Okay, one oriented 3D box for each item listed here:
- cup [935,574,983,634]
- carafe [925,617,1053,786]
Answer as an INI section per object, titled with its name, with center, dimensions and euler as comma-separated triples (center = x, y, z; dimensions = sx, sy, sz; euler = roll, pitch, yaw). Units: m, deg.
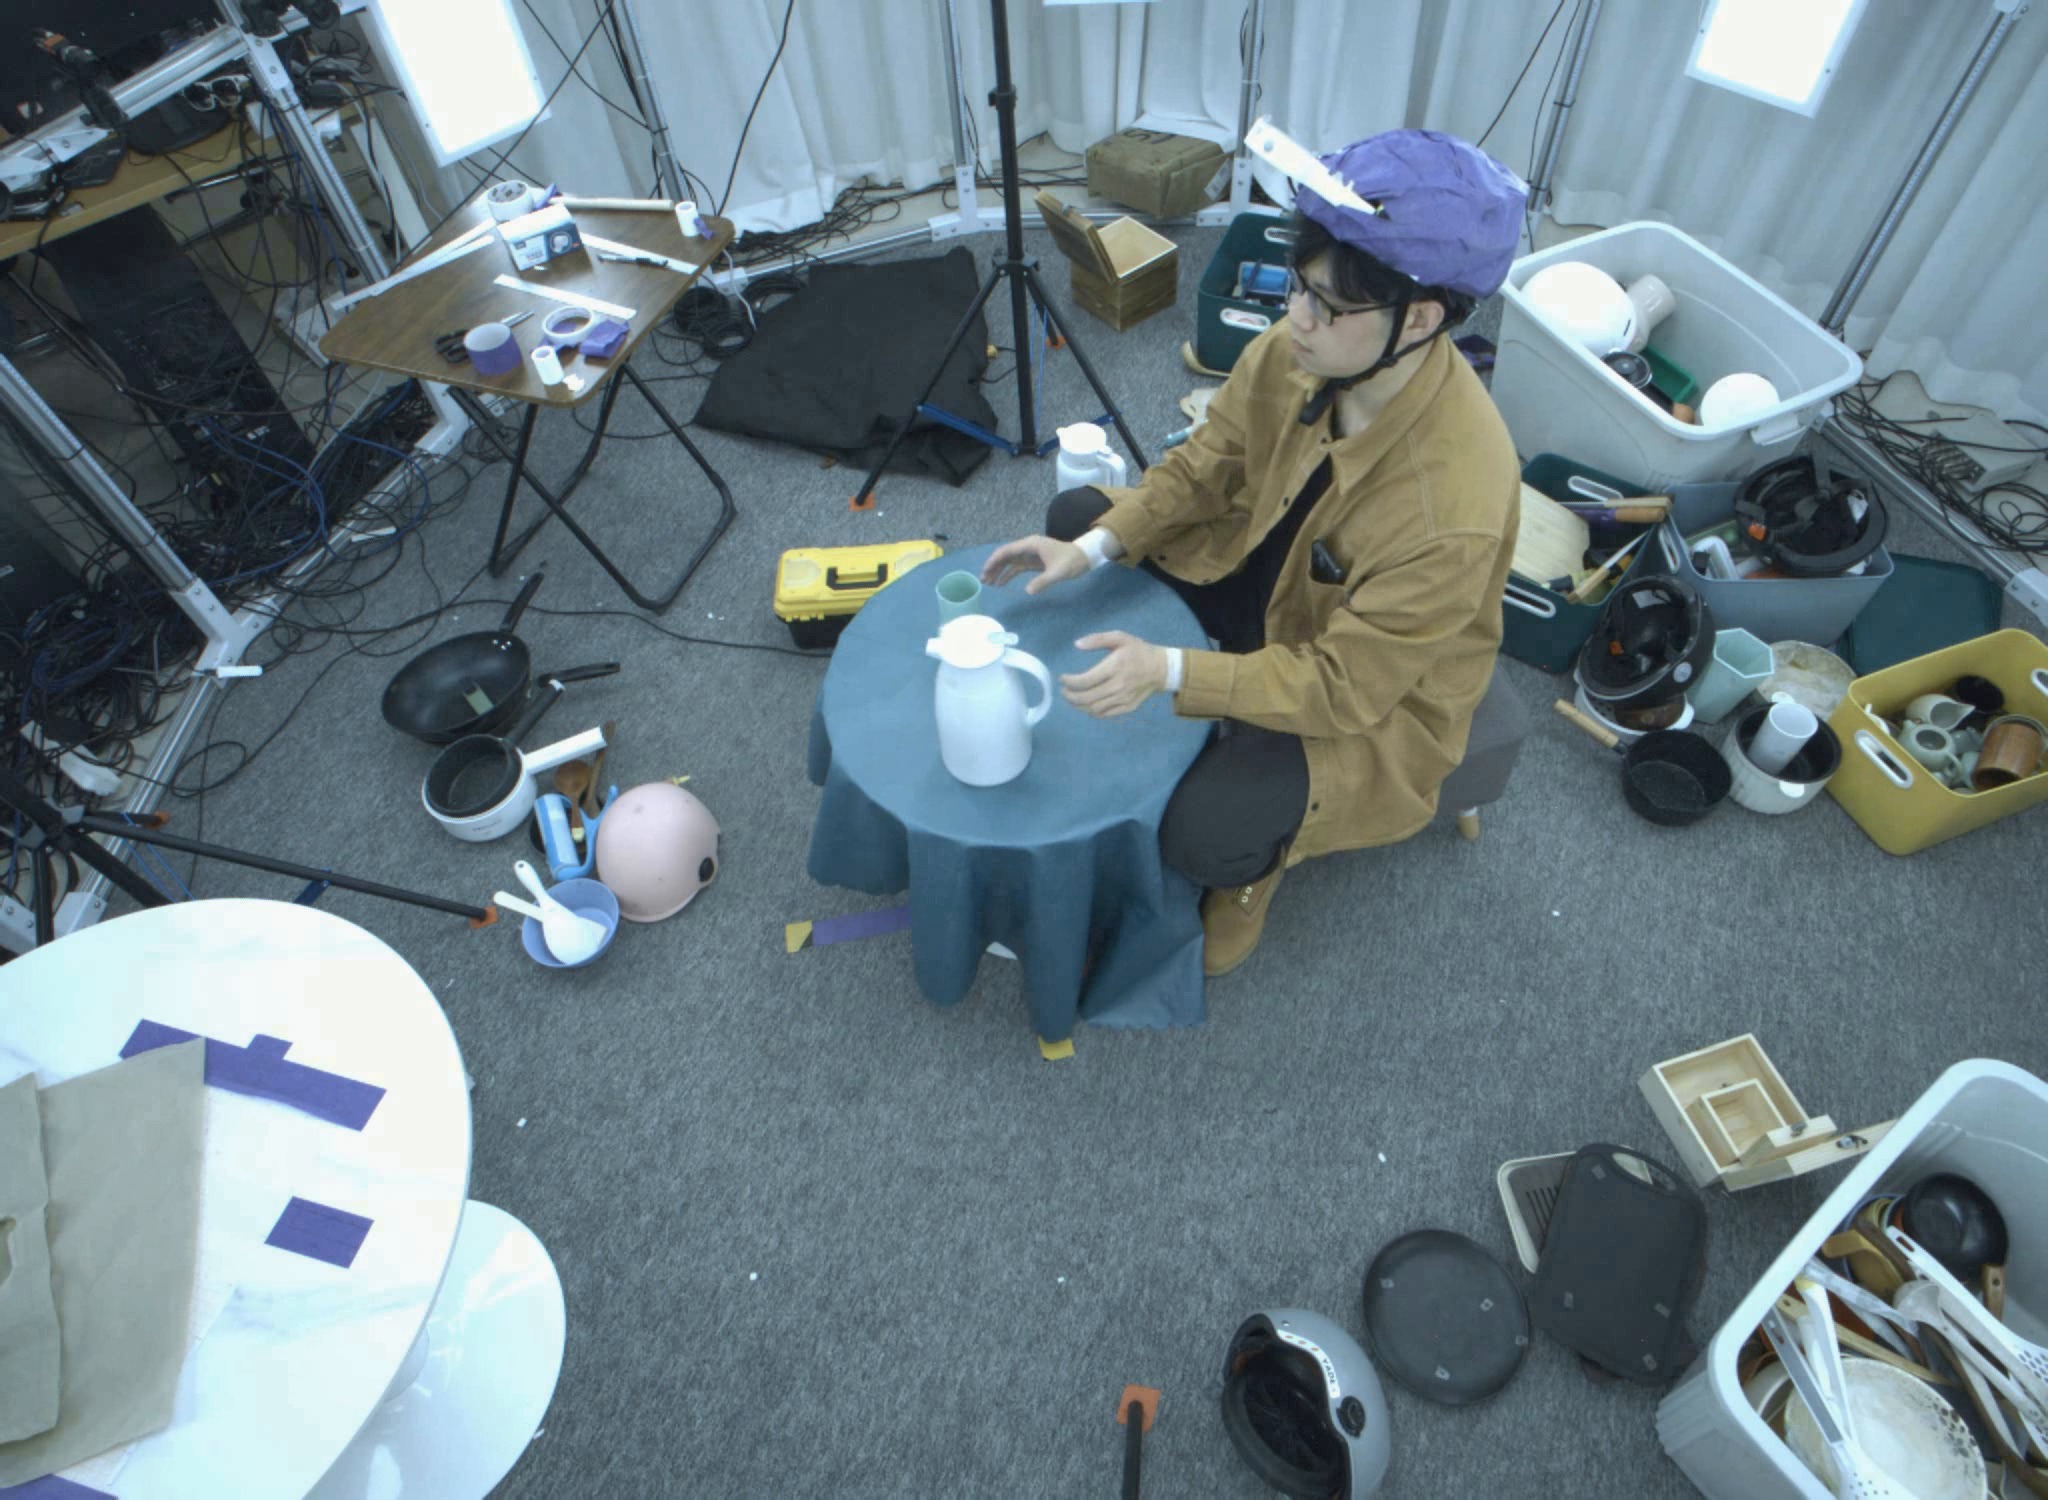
[cup]
center = -0.094, -0.198, 1.852
dimensions = 0.066, 0.134, 0.066
euler = -1, 55, 3
[carafe]
center = -0.043, -0.071, 1.684
dimensions = 0.167, 0.251, 0.131
euler = 5, 56, 6
